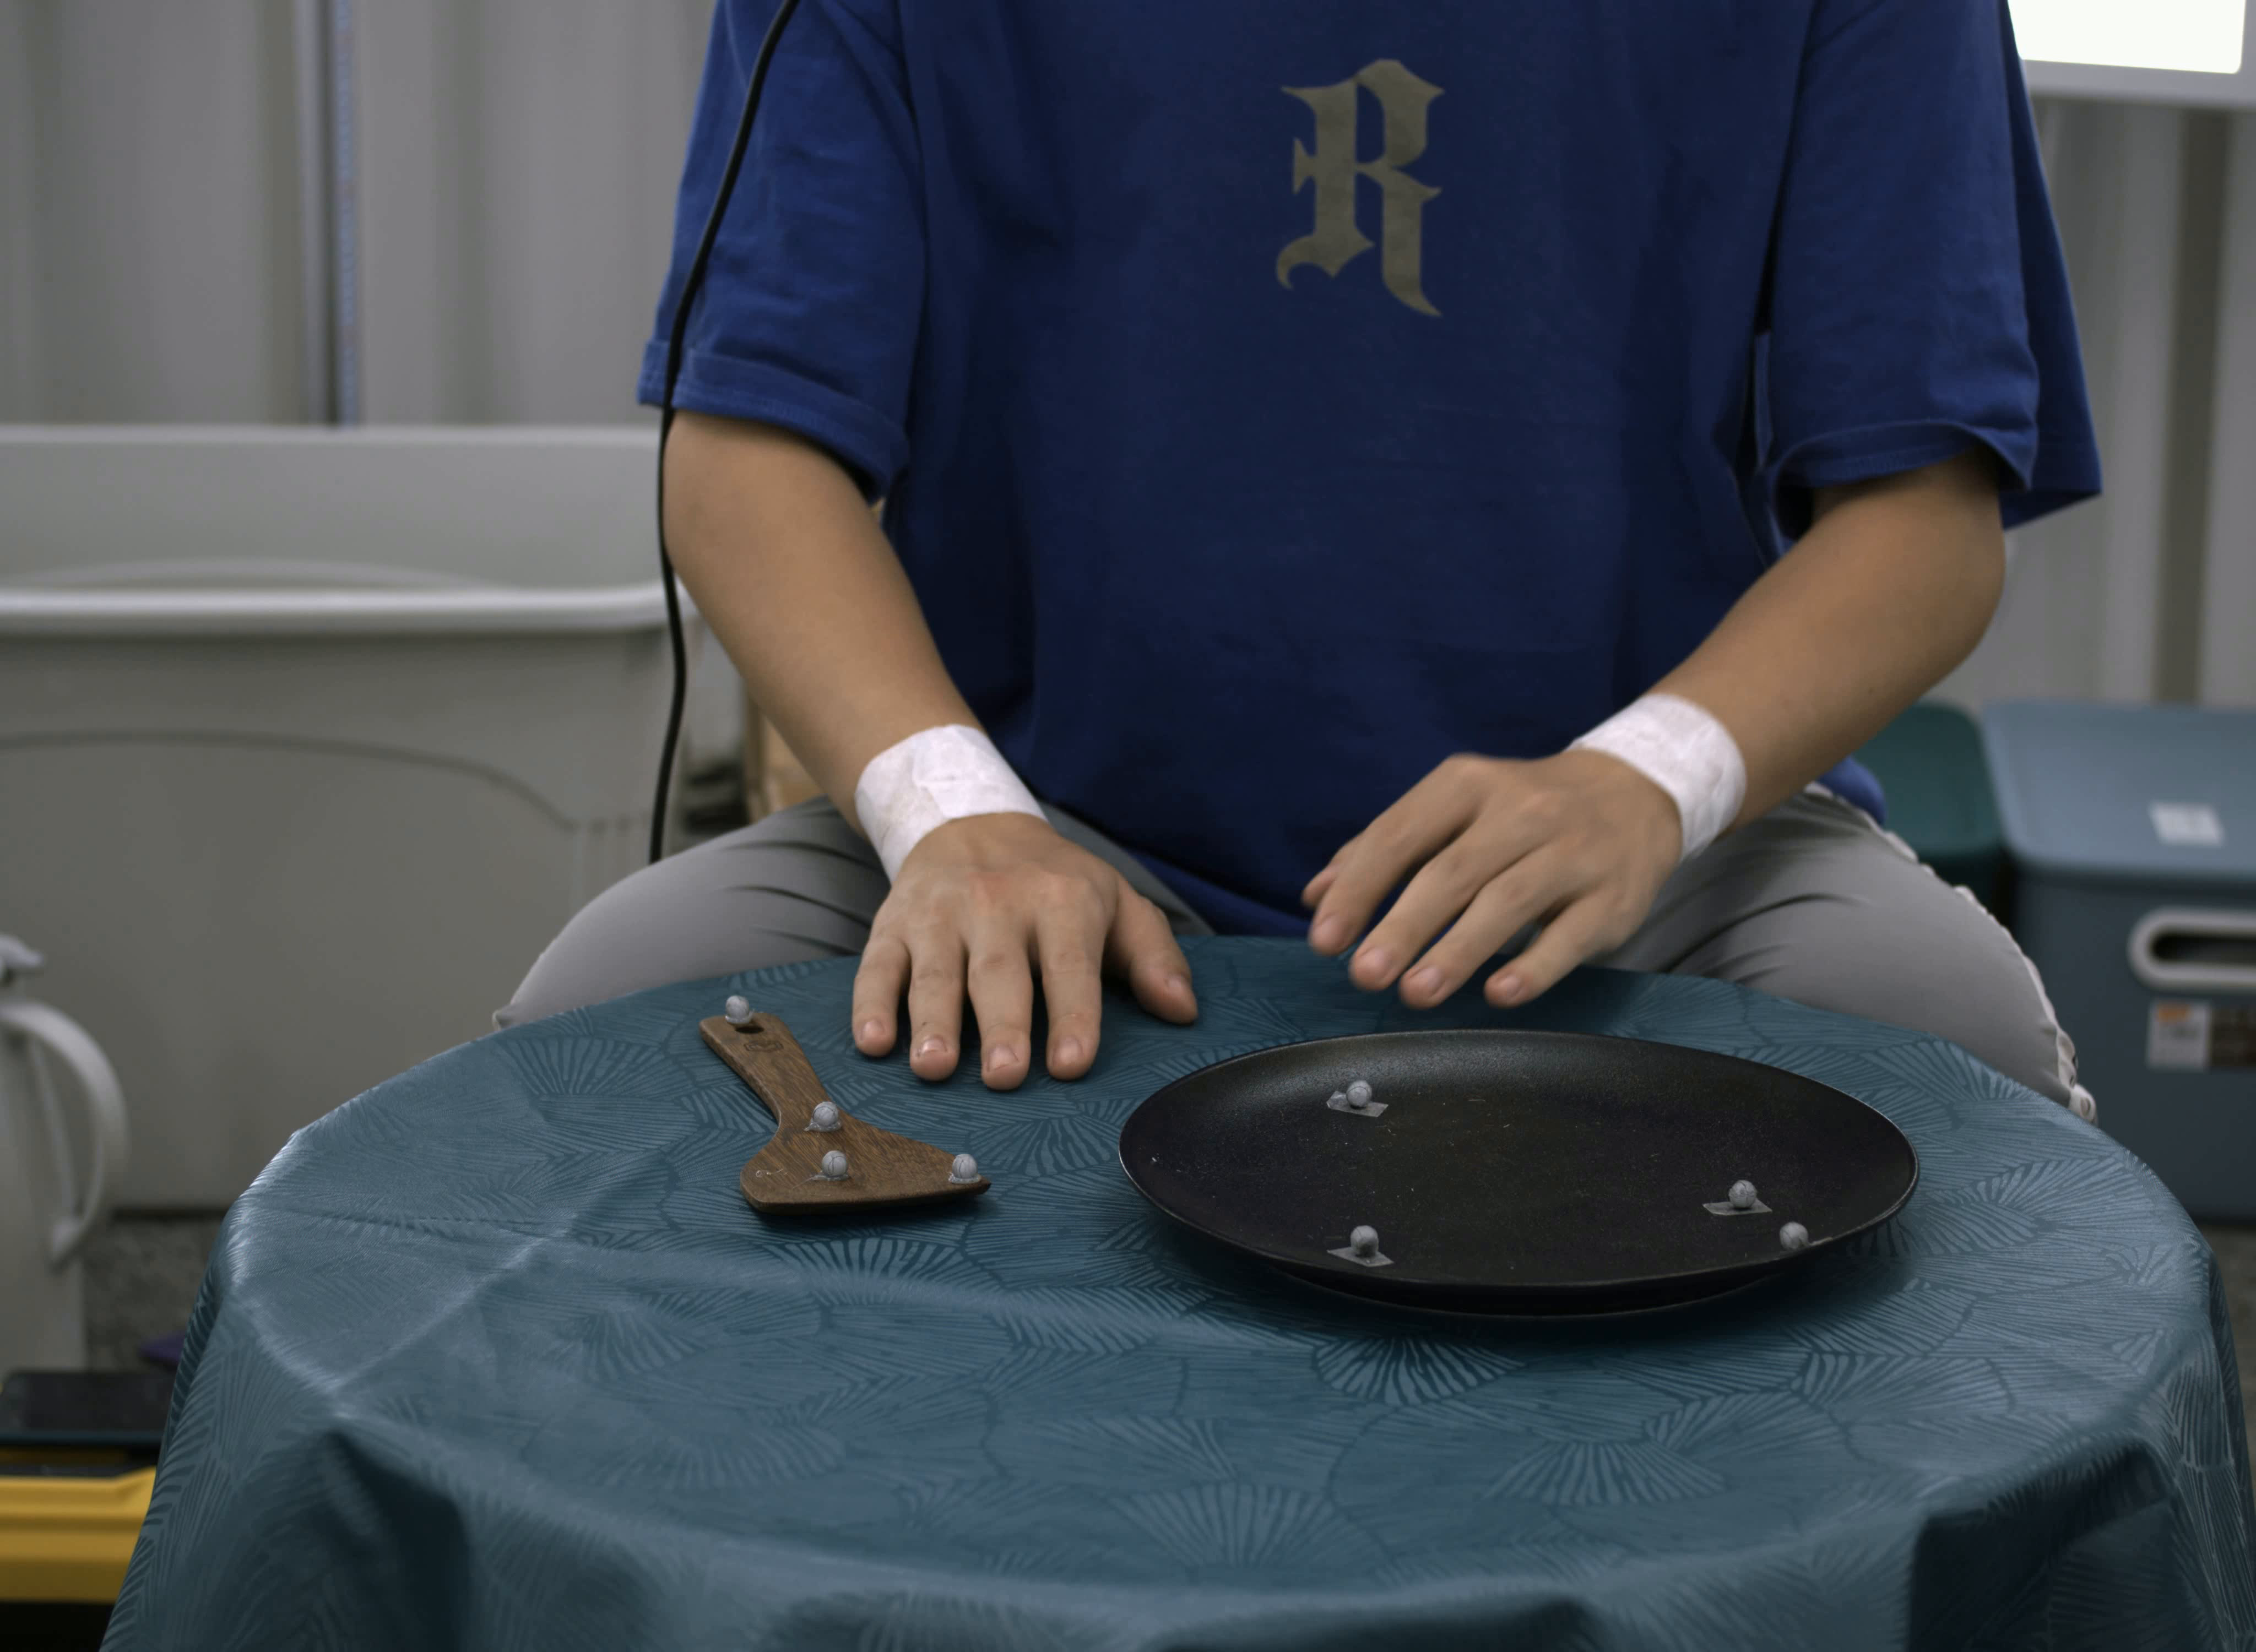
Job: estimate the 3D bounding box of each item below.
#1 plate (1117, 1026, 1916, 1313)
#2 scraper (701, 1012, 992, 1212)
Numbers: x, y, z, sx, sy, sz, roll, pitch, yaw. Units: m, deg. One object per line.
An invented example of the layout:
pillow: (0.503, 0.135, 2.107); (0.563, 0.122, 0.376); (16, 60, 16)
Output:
plate: (0.117, 0.107, 1.603); (0.243, 0.023, 0.243); (1, 15, 0)
scraper: (-0.103, 0.090, 1.681); (0.076, 0.011, 0.209); (-3, 15, -16)
